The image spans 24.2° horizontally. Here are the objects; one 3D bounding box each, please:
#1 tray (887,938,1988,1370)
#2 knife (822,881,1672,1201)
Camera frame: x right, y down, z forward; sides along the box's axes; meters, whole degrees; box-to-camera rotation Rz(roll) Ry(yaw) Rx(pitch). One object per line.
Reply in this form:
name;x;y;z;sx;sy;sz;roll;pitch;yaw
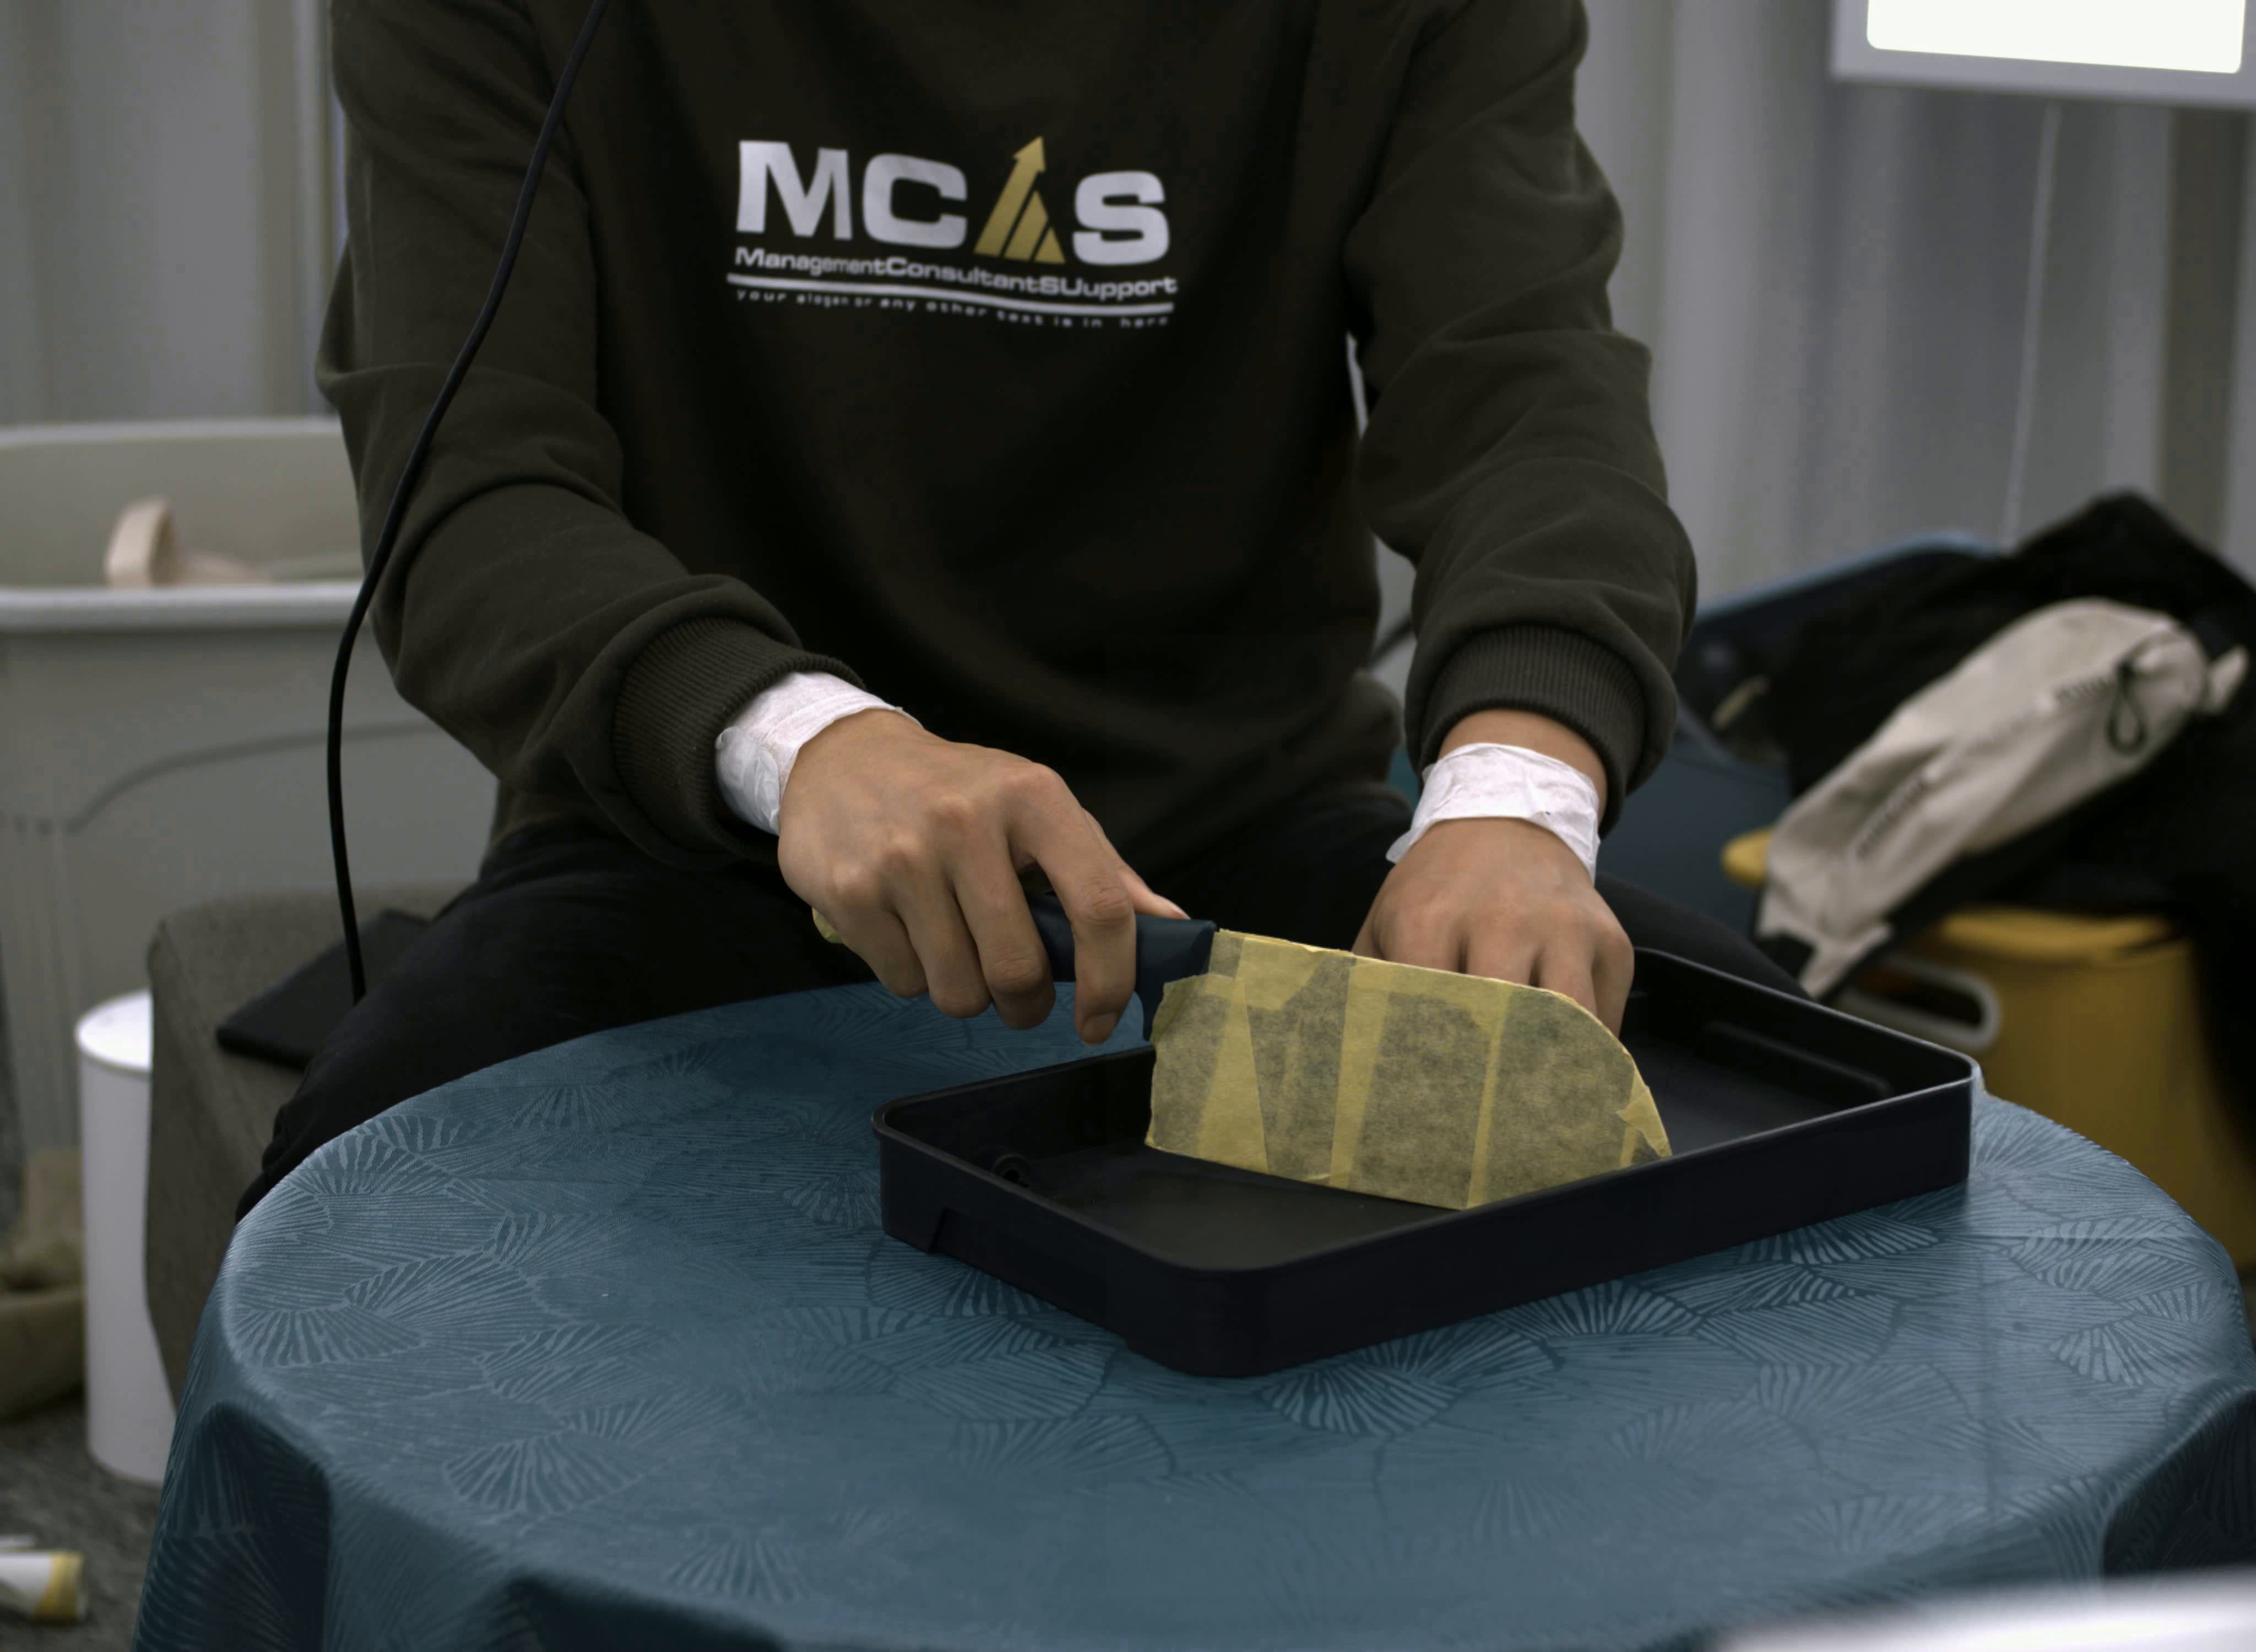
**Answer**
tray;0.098;0.095;1.620;0.319;0.037;0.182;-11;19;-38
knife;0.033;0.066;1.622;0.286;0.081;0.027;13;7;21
